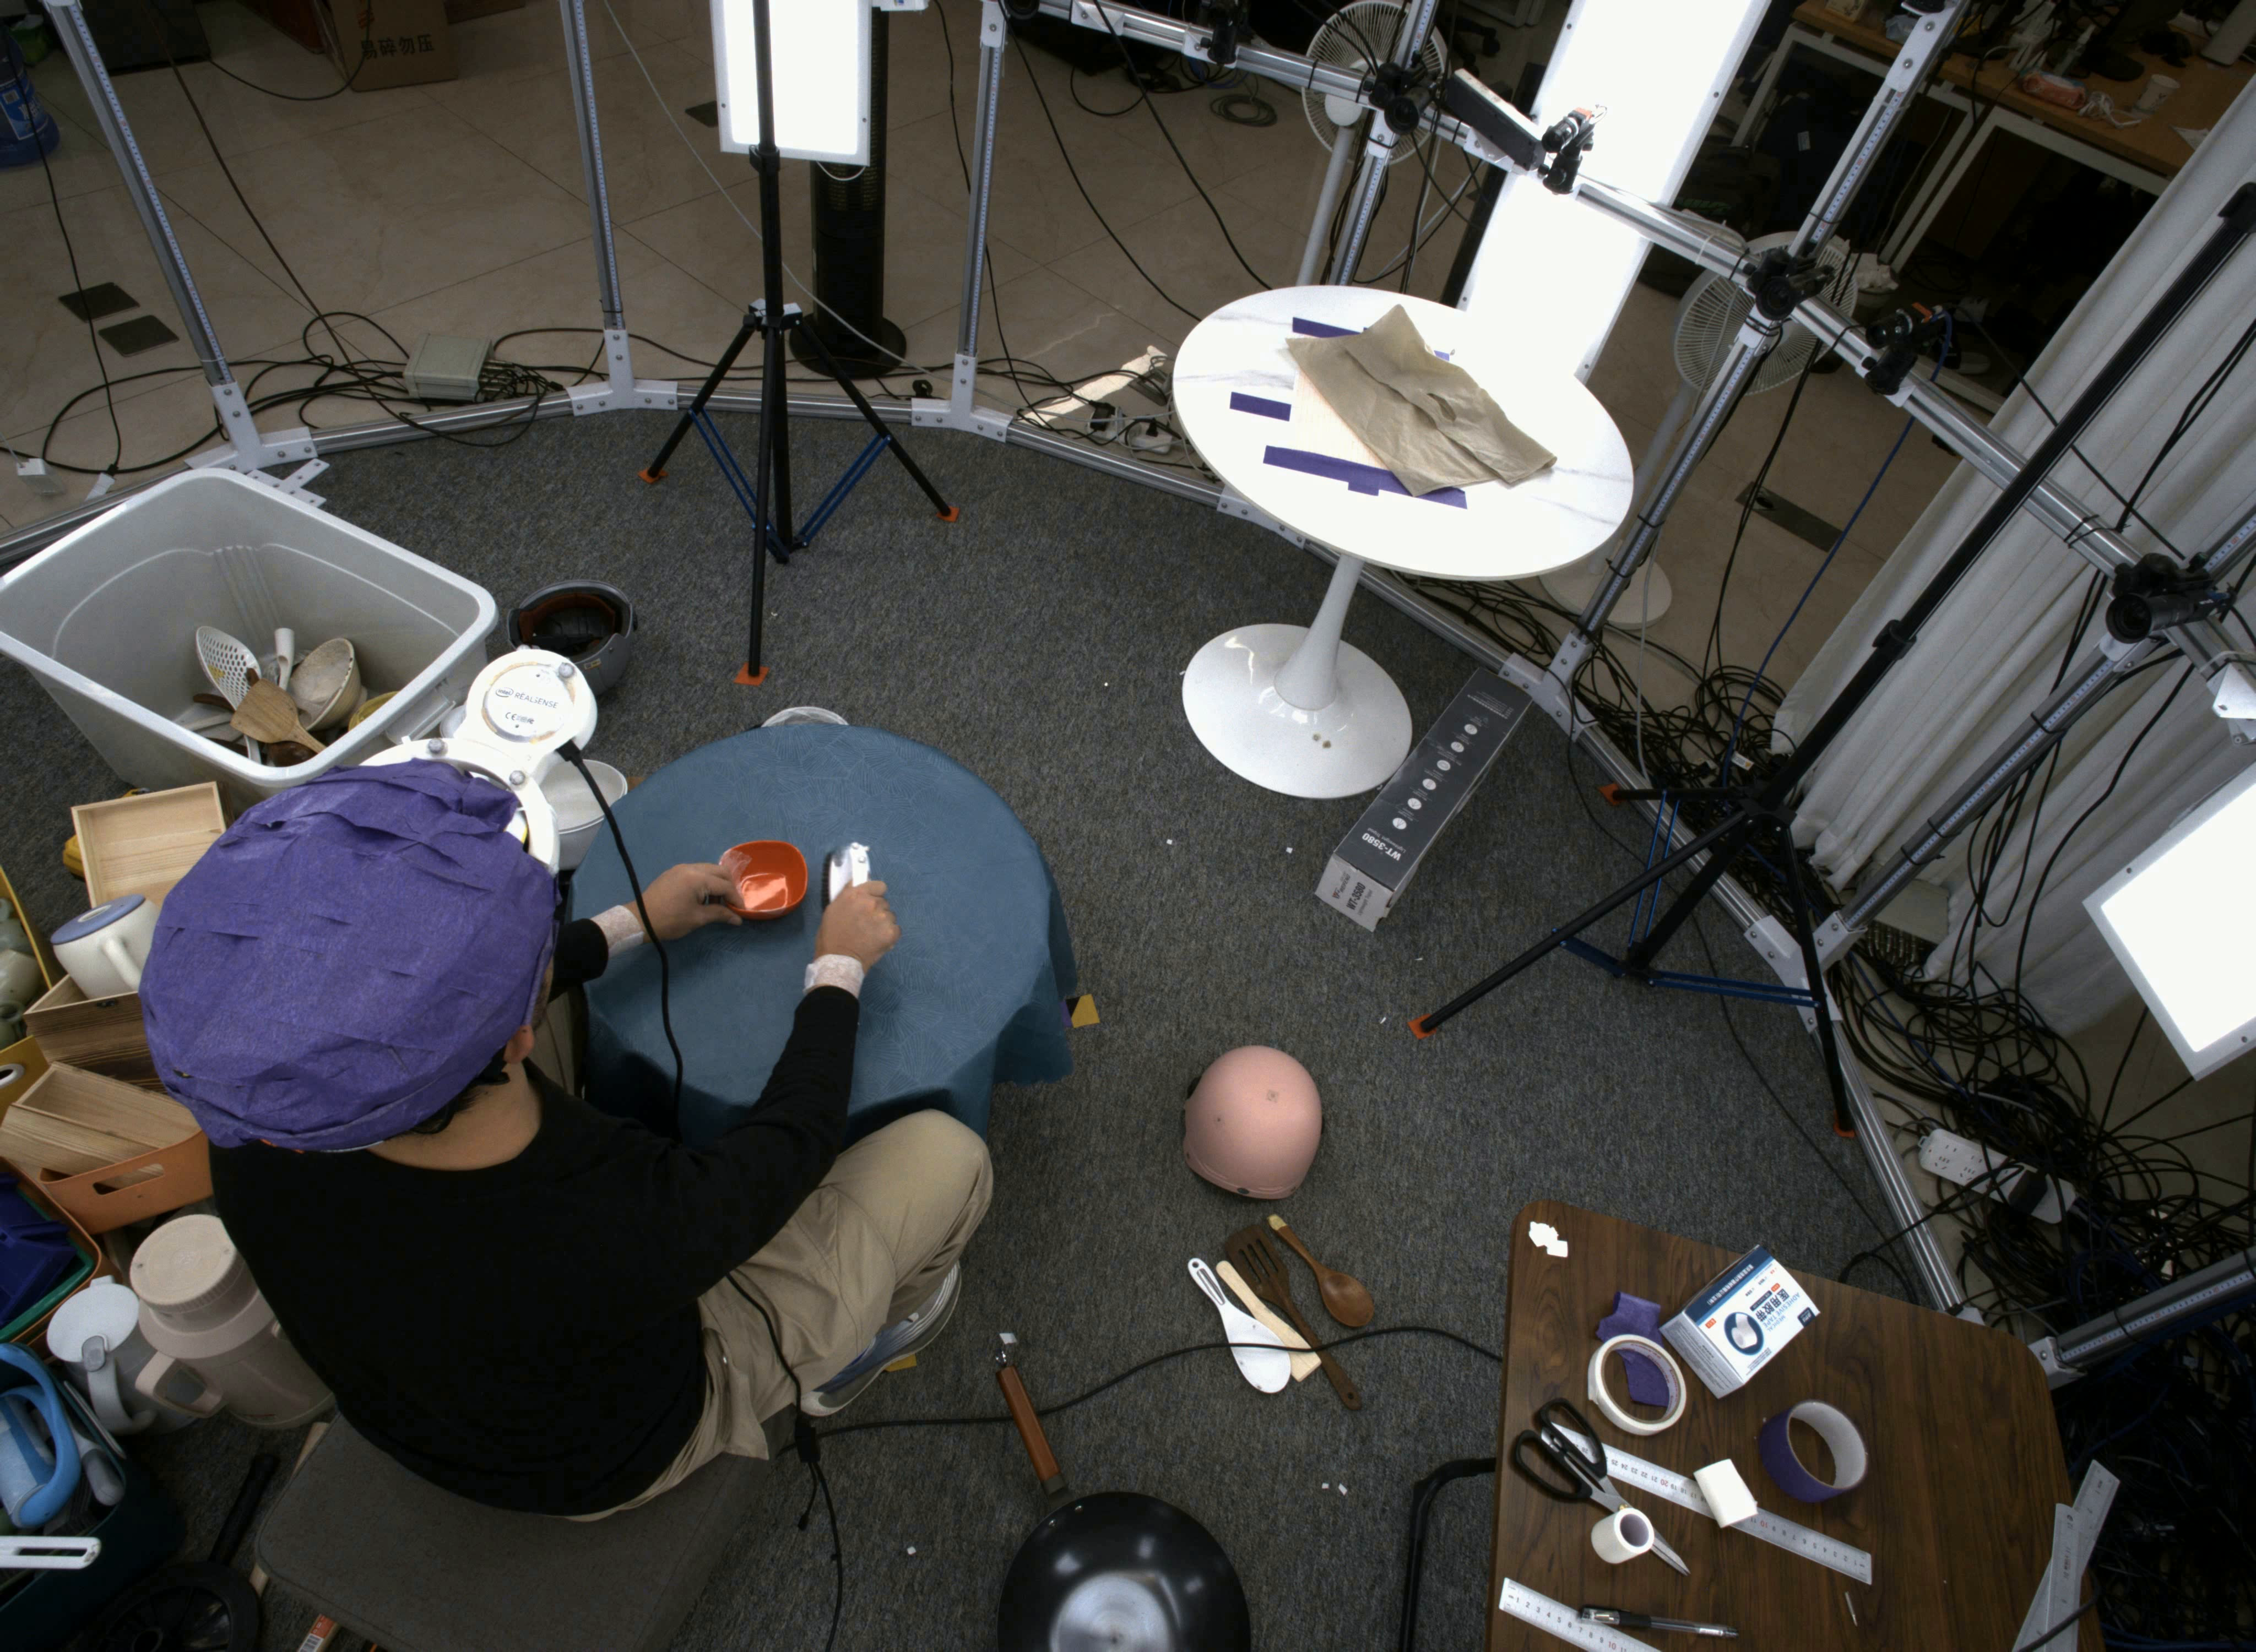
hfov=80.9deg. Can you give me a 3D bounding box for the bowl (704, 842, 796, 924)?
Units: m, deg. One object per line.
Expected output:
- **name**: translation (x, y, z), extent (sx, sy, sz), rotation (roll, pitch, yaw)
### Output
- **bowl**: translation (-0.470, 0.077, 1.615), extent (0.118, 0.052, 0.117), rotation (8, 51, -8)

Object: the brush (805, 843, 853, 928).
- **brush**: translation (-0.356, 0.068, 1.574), extent (0.051, 0.071, 0.099), rotation (7, 77, -34)
